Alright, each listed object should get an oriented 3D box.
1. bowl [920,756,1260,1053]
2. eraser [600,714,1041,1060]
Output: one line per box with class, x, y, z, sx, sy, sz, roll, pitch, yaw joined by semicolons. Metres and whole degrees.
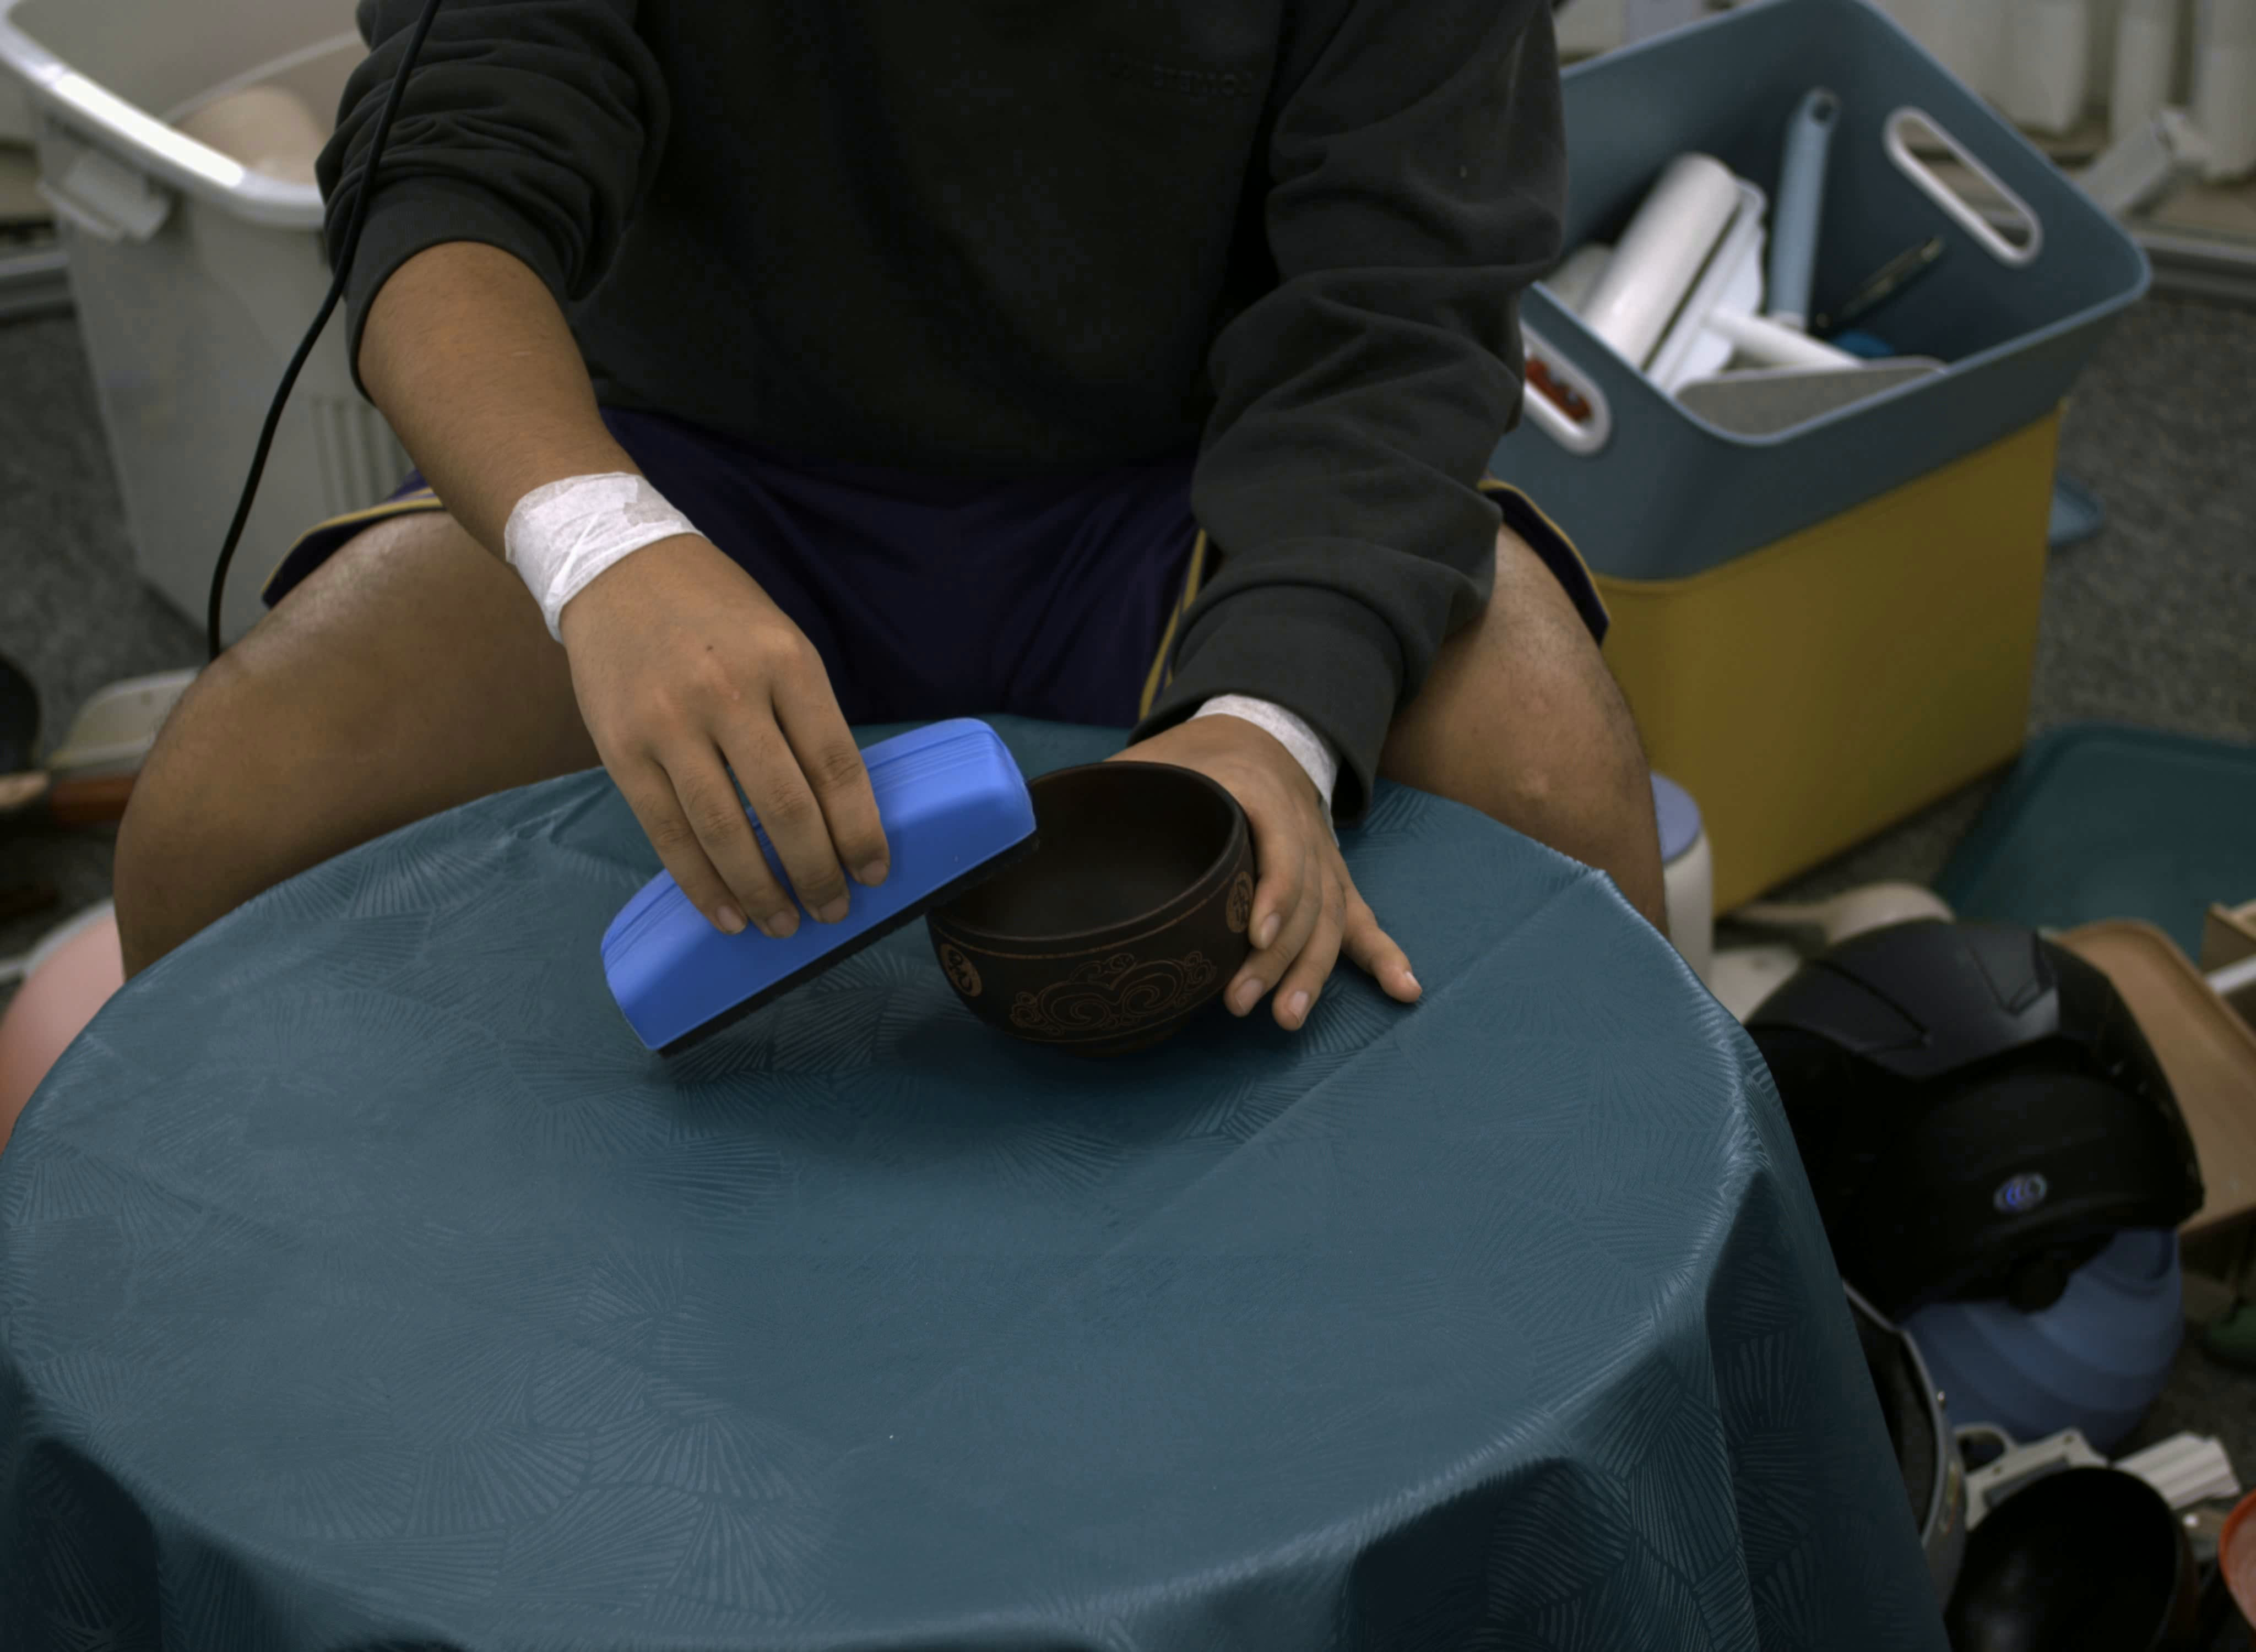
bowl;-0.010;0.035;1.944;0.117;0.069;0.120;-11;28;6
eraser;-0.109;0.017;1.925;0.161;0.047;0.054;-30;35;6
